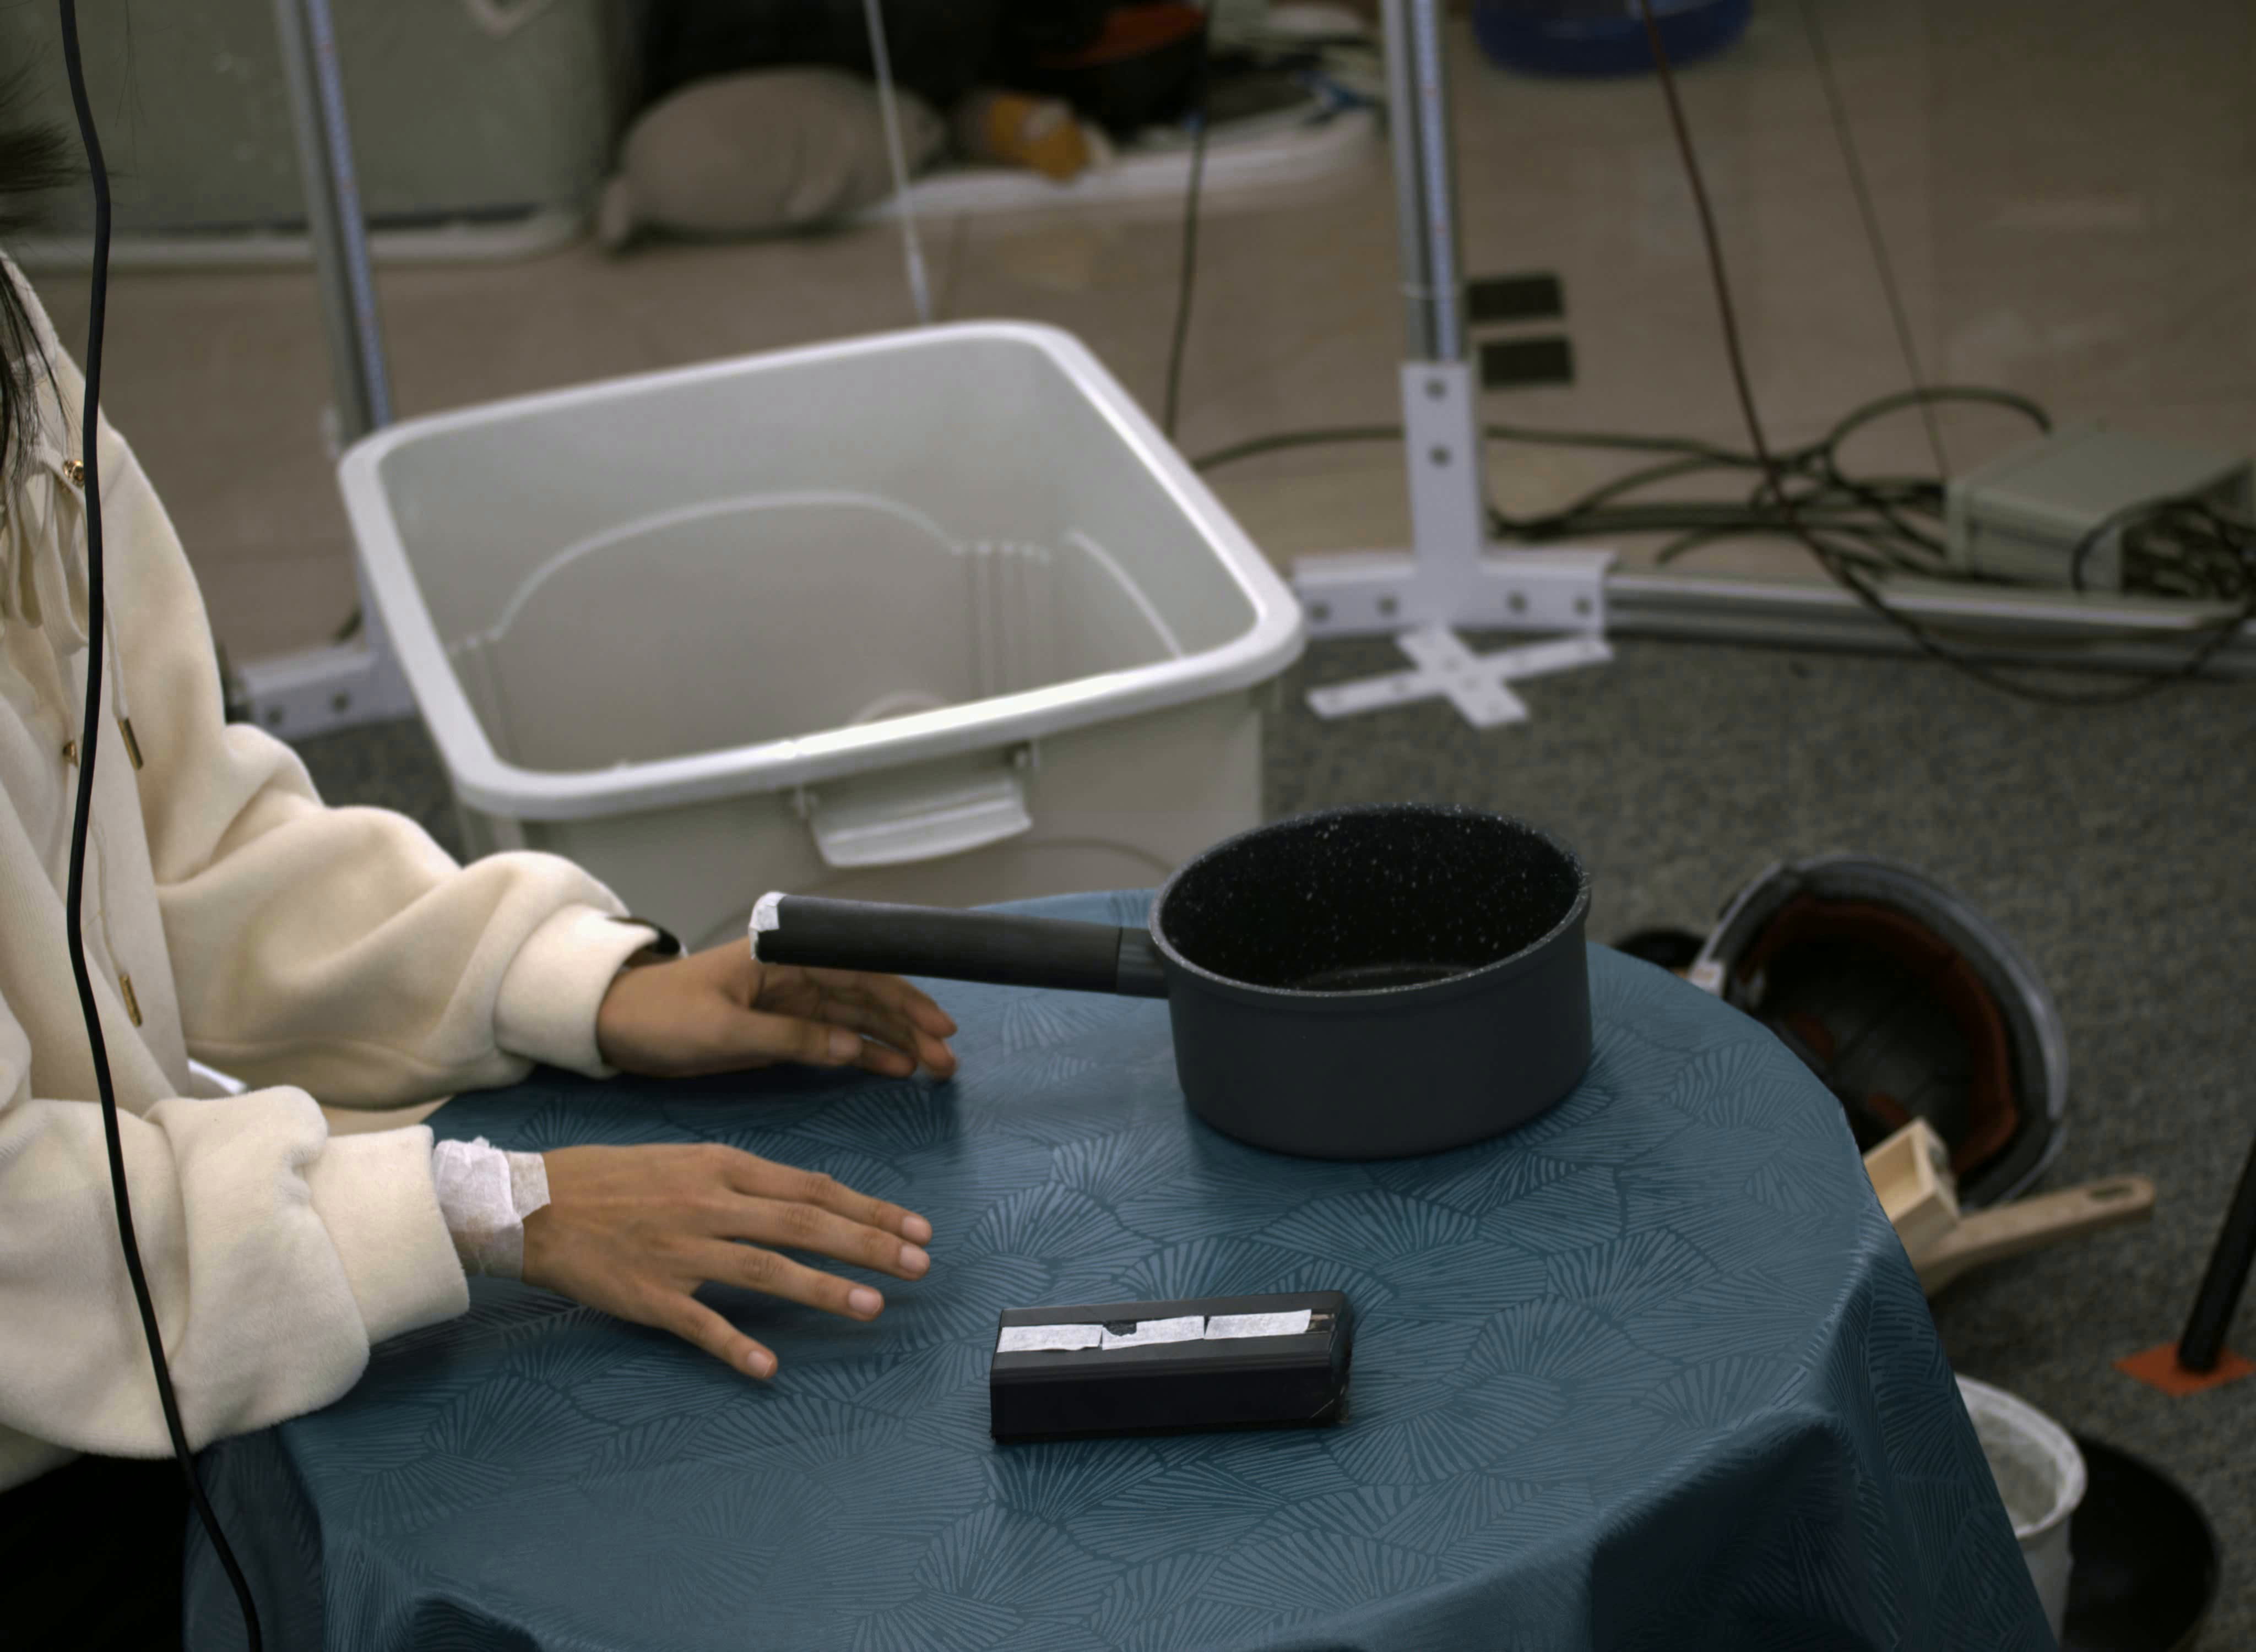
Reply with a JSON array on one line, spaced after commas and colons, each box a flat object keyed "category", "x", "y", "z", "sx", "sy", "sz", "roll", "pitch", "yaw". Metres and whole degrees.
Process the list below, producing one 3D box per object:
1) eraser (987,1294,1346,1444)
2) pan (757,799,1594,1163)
[{"category": "eraser", "x": 0.015, "y": 0.191, "z": 2.001, "sx": 0.125, "sy": 0.031, "sz": 0.053, "roll": -4, "pitch": 24, "yaw": 8}, {"category": "pan", "x": 0.019, "y": 0.061, "z": 2.211, "sx": 0.328, "sy": 0.088, "sz": 0.169, "roll": -1, "pitch": 25, "yaw": 9}]
